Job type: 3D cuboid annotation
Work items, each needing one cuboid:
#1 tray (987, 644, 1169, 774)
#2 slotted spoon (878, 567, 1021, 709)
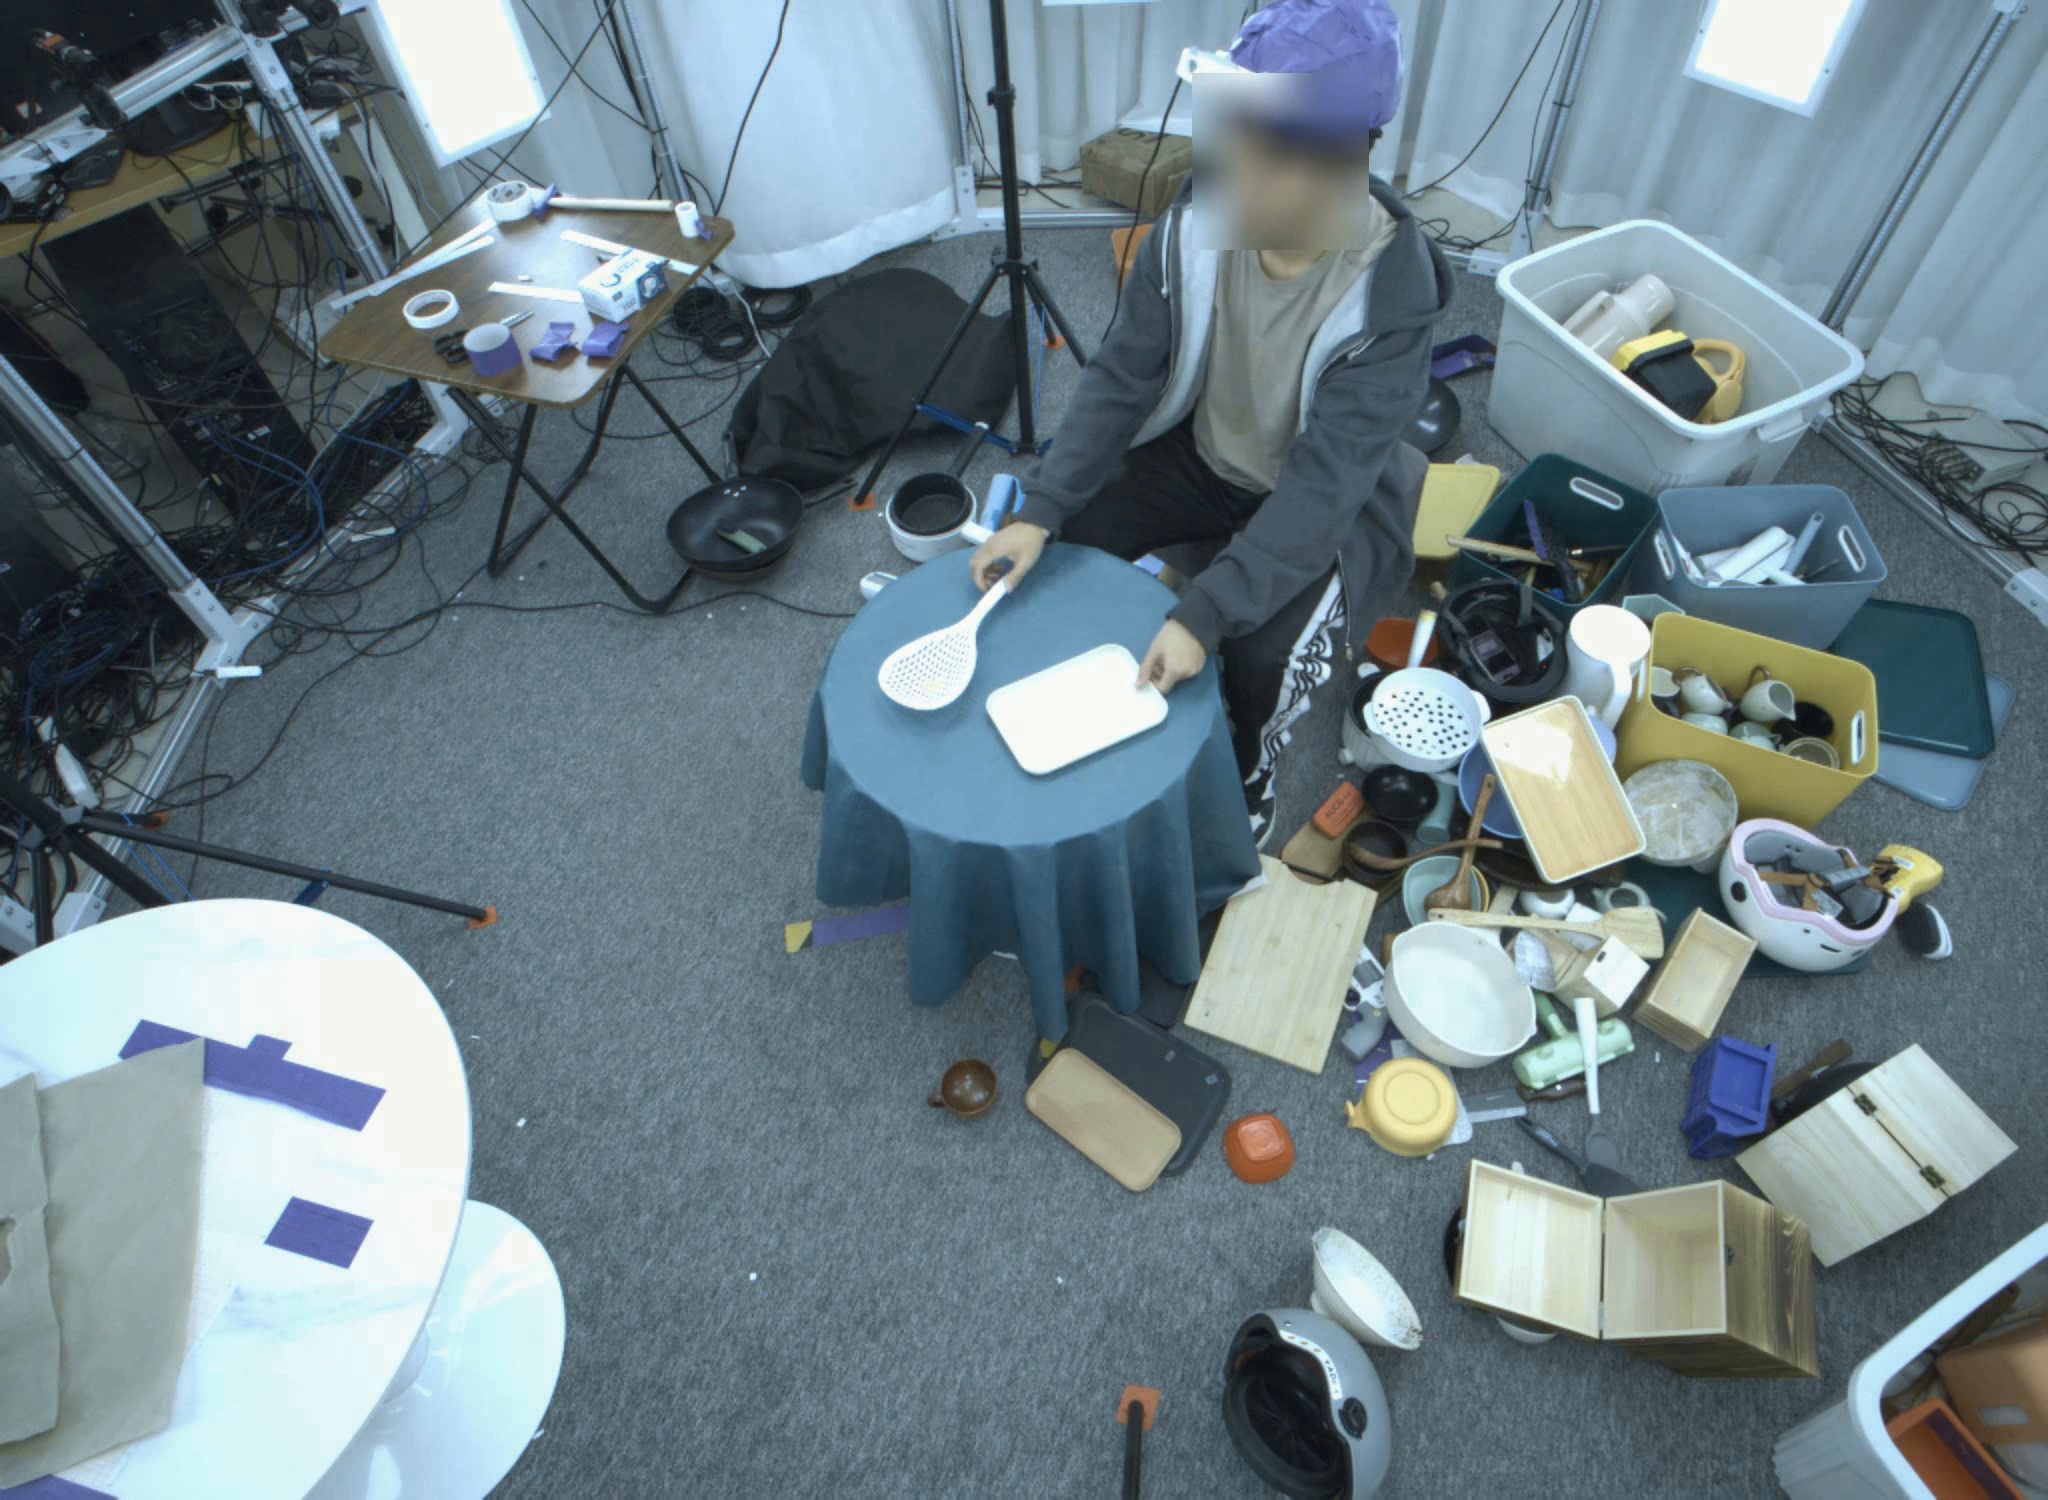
[{"bbox_3d":[0.079,-0.061,1.820,0.241,0.017,0.168,-23,56,-14],"label":"tray"},{"bbox_3d":[-0.091,-0.182,1.896,0.135,0.051,0.349,23,59,19],"label":"slotted spoon"}]
